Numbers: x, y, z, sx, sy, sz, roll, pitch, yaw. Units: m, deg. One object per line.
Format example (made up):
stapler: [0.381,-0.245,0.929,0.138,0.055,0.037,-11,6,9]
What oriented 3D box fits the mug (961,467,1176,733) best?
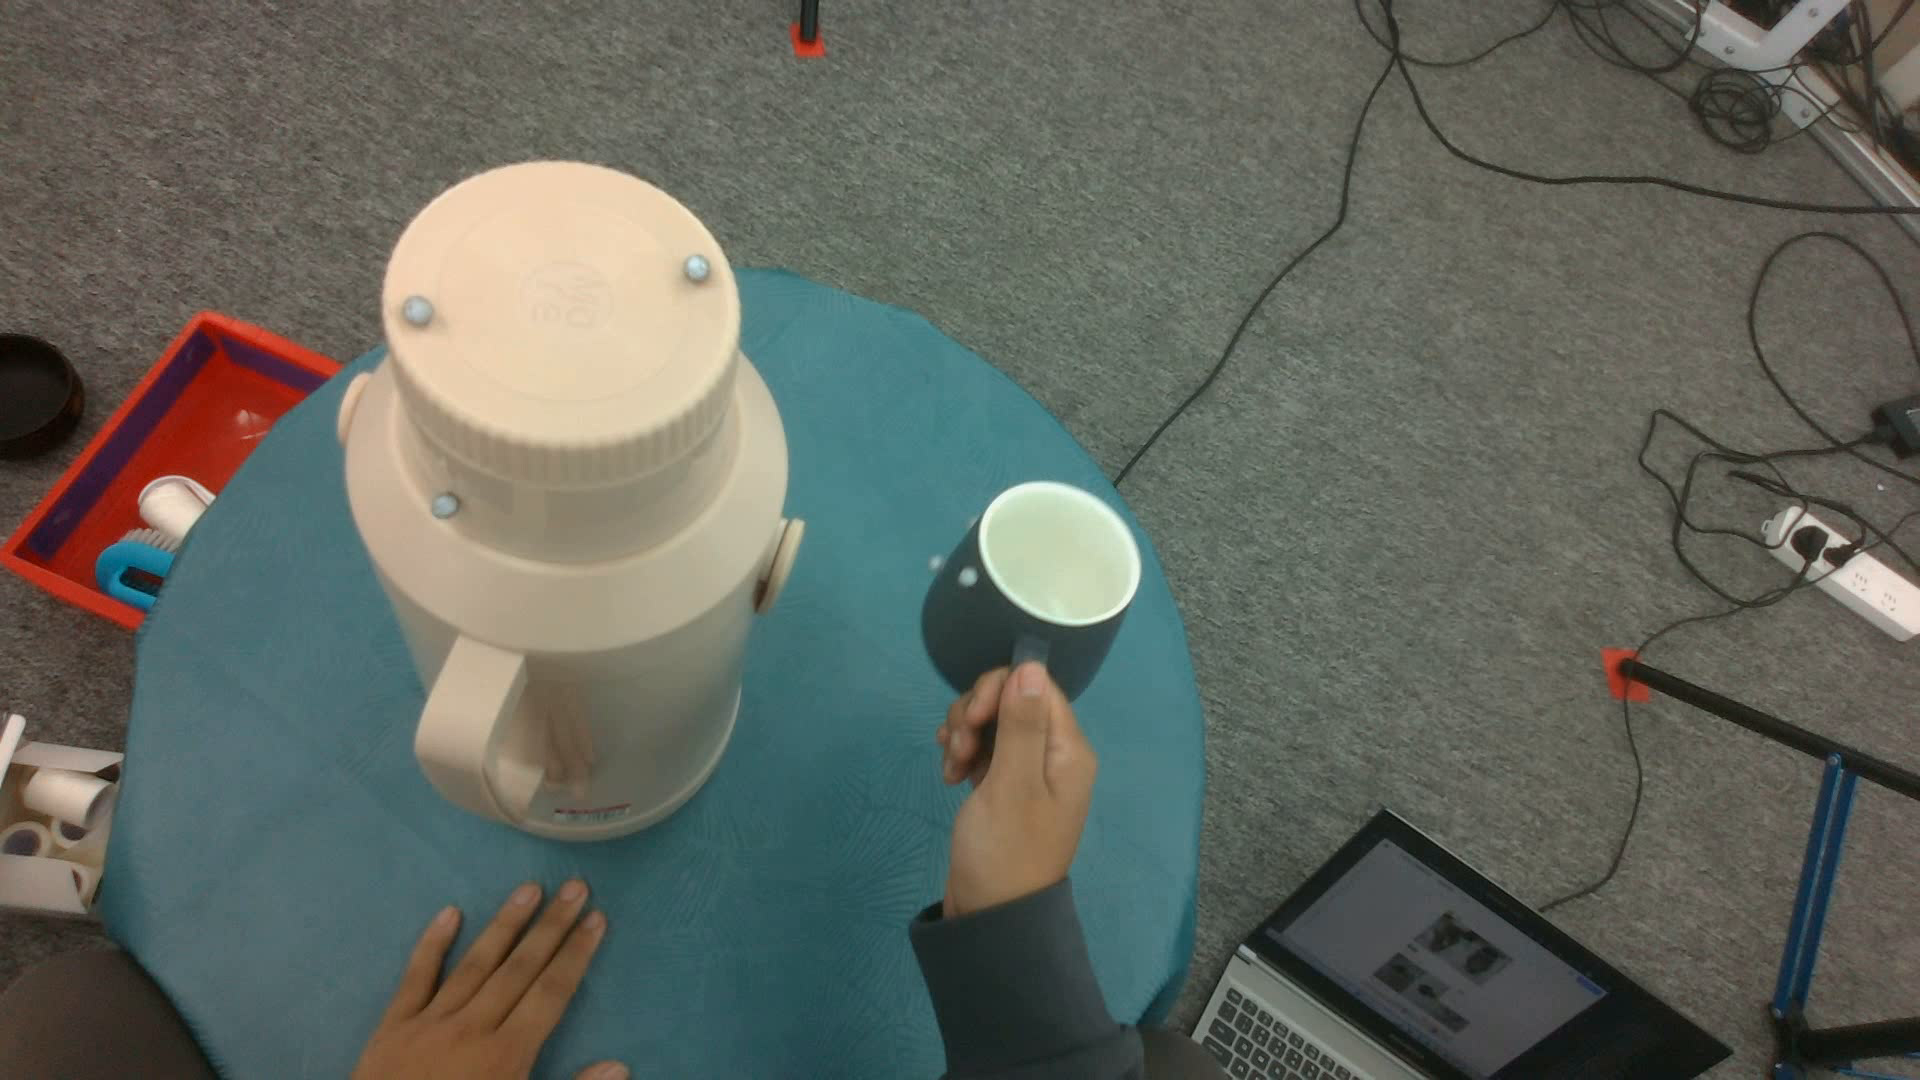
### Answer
mug: [0.049,0.034,0.659,0.093,0.089,0.124,19,53,-2]

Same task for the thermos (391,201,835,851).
thermos: [-0.154,0.029,0.611,0.175,0.404,0.208,16,63,-4]
